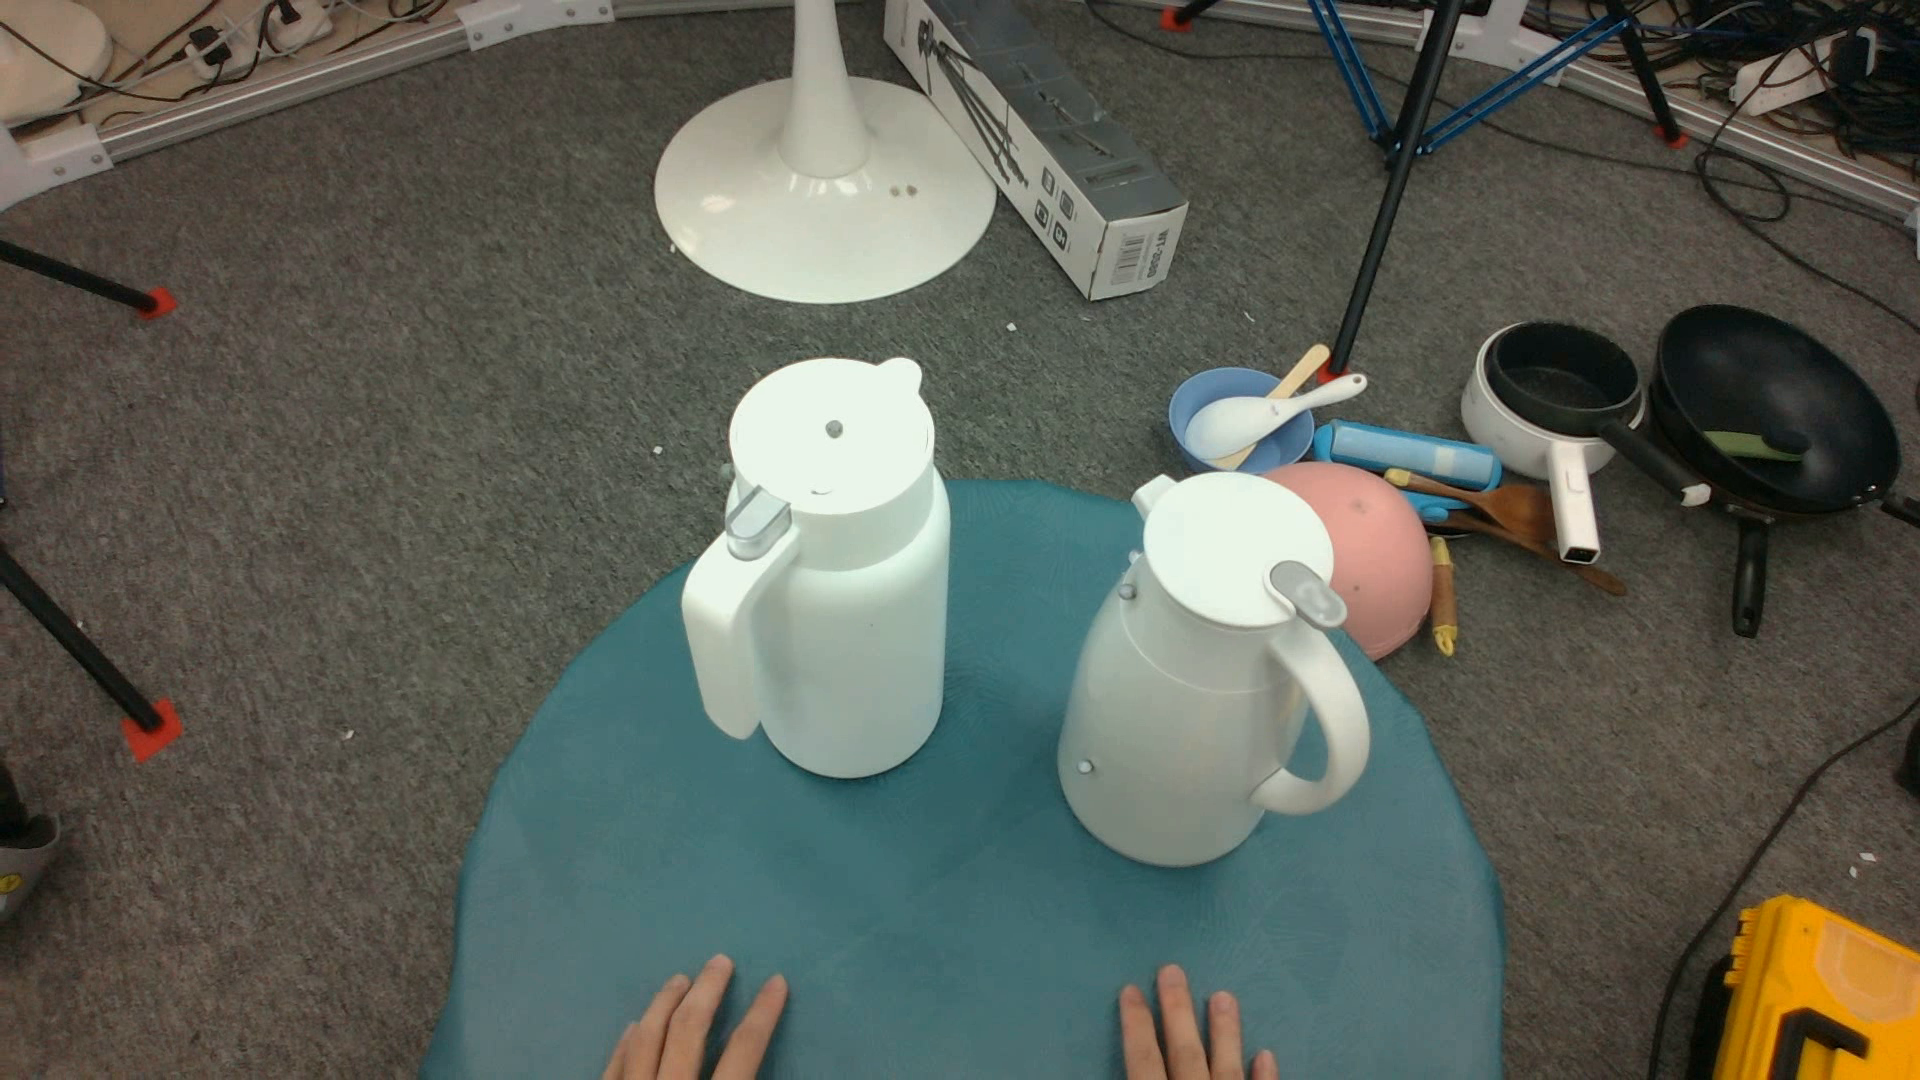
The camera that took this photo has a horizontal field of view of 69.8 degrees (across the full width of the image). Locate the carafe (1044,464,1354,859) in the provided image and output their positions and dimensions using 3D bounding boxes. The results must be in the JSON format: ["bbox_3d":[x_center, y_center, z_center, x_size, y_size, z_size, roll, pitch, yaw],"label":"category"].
[{"bbox_3d":[0.135,0.077,0.747,0.133,0.247,0.168,-33,63,-23],"label":"carafe"}]

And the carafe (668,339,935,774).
[{"bbox_3d":[-0.082,0.033,0.754,0.124,0.267,0.173,29,58,14],"label":"carafe"}]
